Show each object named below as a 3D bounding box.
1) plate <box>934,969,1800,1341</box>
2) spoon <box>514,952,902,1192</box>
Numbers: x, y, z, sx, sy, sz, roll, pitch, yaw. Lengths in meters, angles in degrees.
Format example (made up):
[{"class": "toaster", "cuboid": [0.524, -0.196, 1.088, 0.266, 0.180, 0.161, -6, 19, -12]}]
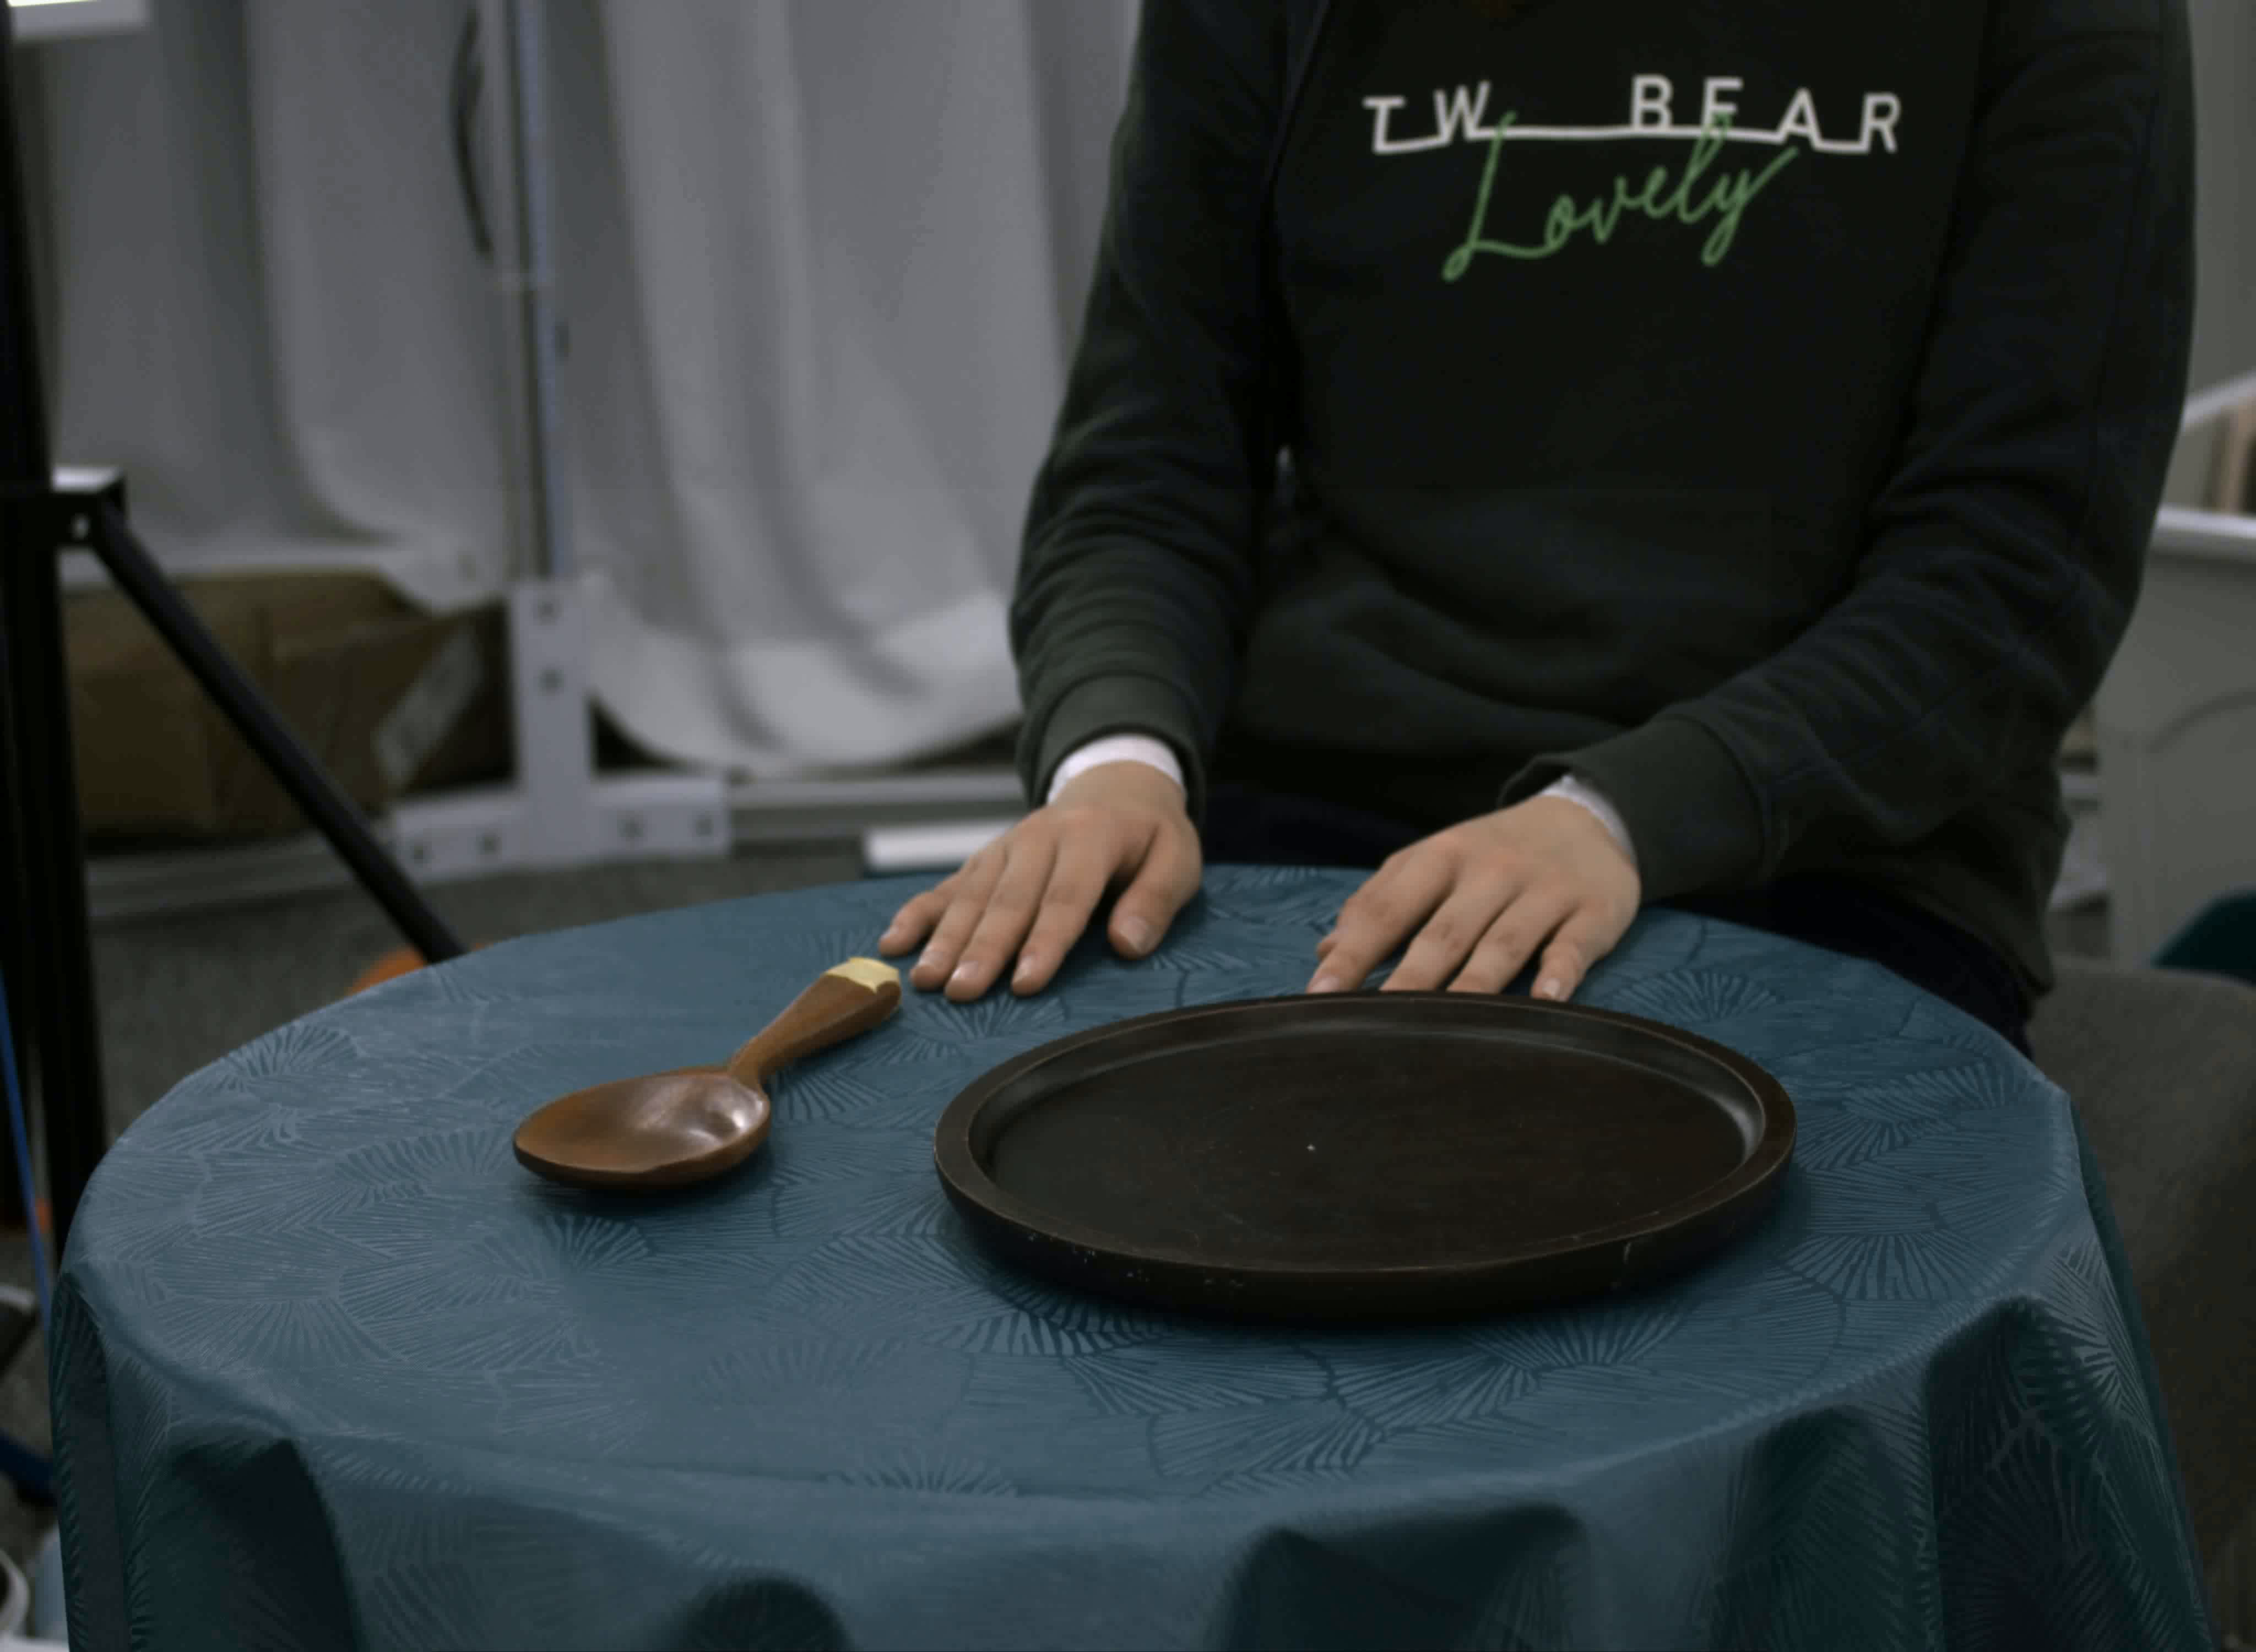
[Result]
[{"class": "plate", "cuboid": [0.069, 0.096, 1.547, 0.253, 0.029, 0.256, -3, 17, 0]}, {"class": "spoon", "cuboid": [-0.120, 0.078, 1.654, 0.076, 0.017, 0.213, 3, 17, 22]}]
